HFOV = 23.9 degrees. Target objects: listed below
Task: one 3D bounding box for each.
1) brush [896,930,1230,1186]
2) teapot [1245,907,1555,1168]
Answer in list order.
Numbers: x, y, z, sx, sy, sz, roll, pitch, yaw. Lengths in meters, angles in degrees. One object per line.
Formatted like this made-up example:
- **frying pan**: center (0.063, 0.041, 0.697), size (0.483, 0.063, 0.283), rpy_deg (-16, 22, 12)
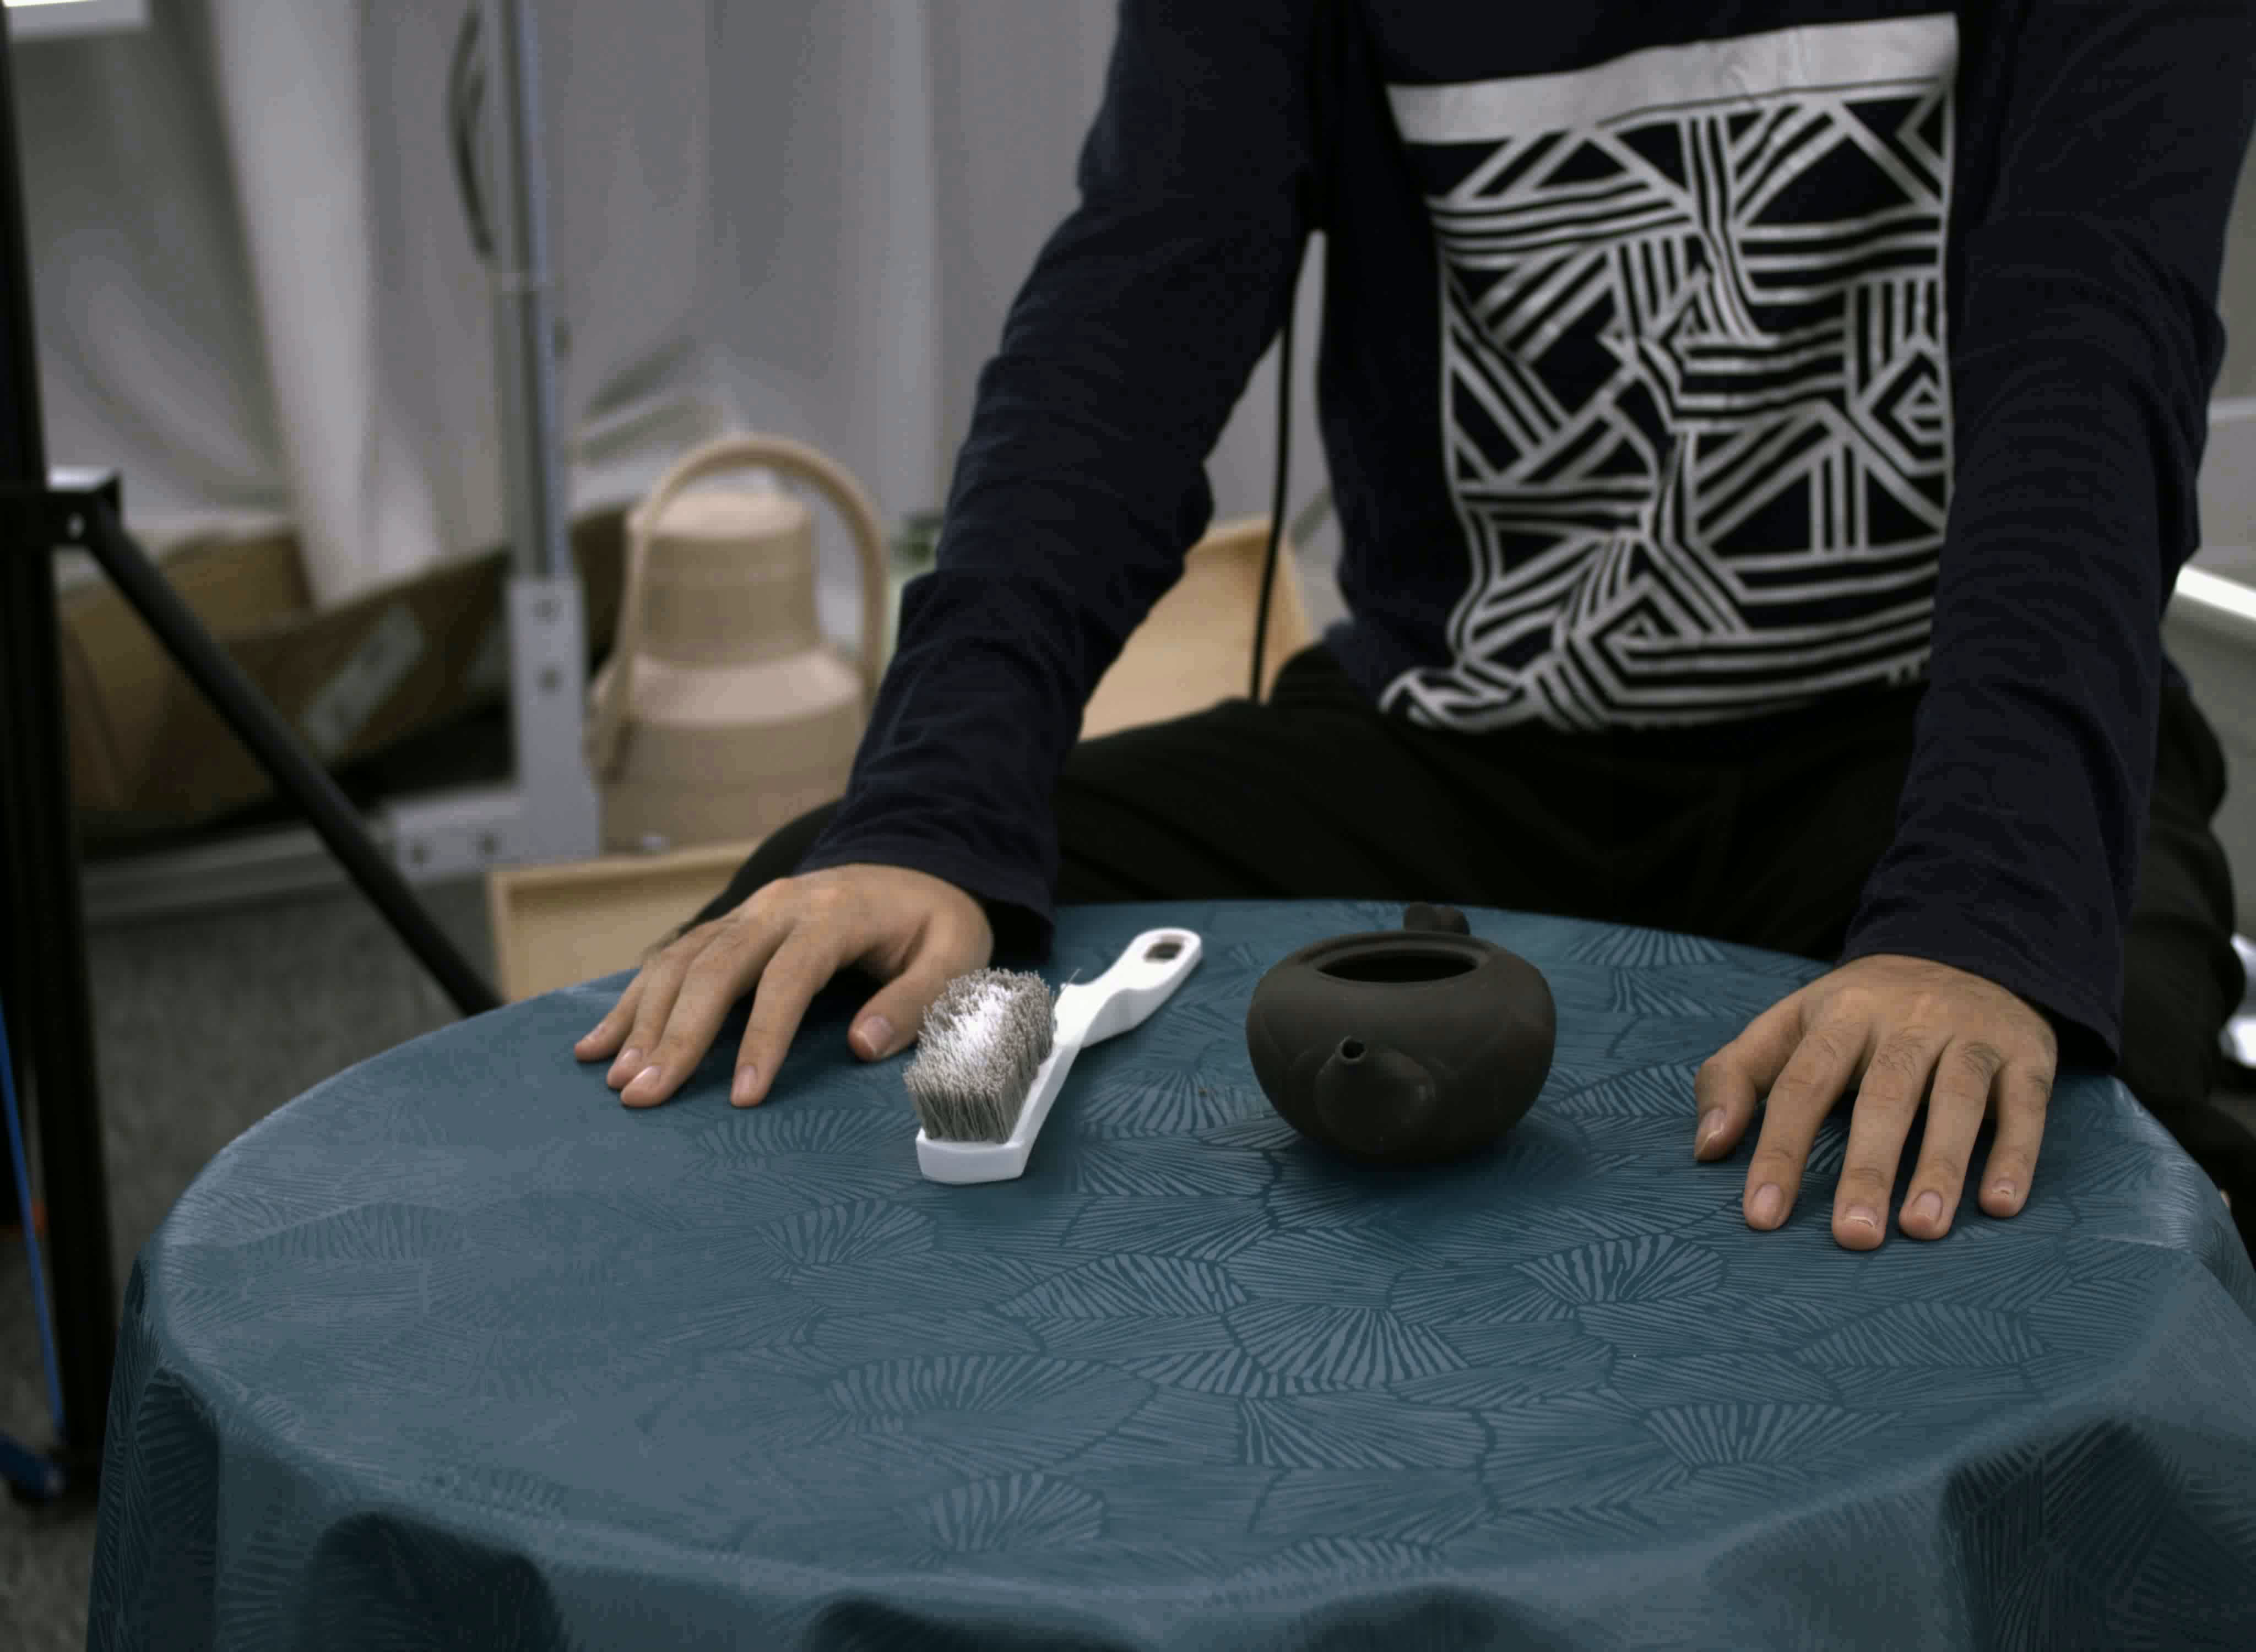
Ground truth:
- **brush**: center (-0.016, 0.053, 1.670), size (0.035, 0.050, 0.241), rpy_deg (-2, 16, 21)
- **teapot**: center (0.083, 0.064, 1.590), size (0.093, 0.064, 0.153), rpy_deg (2, 15, 17)
